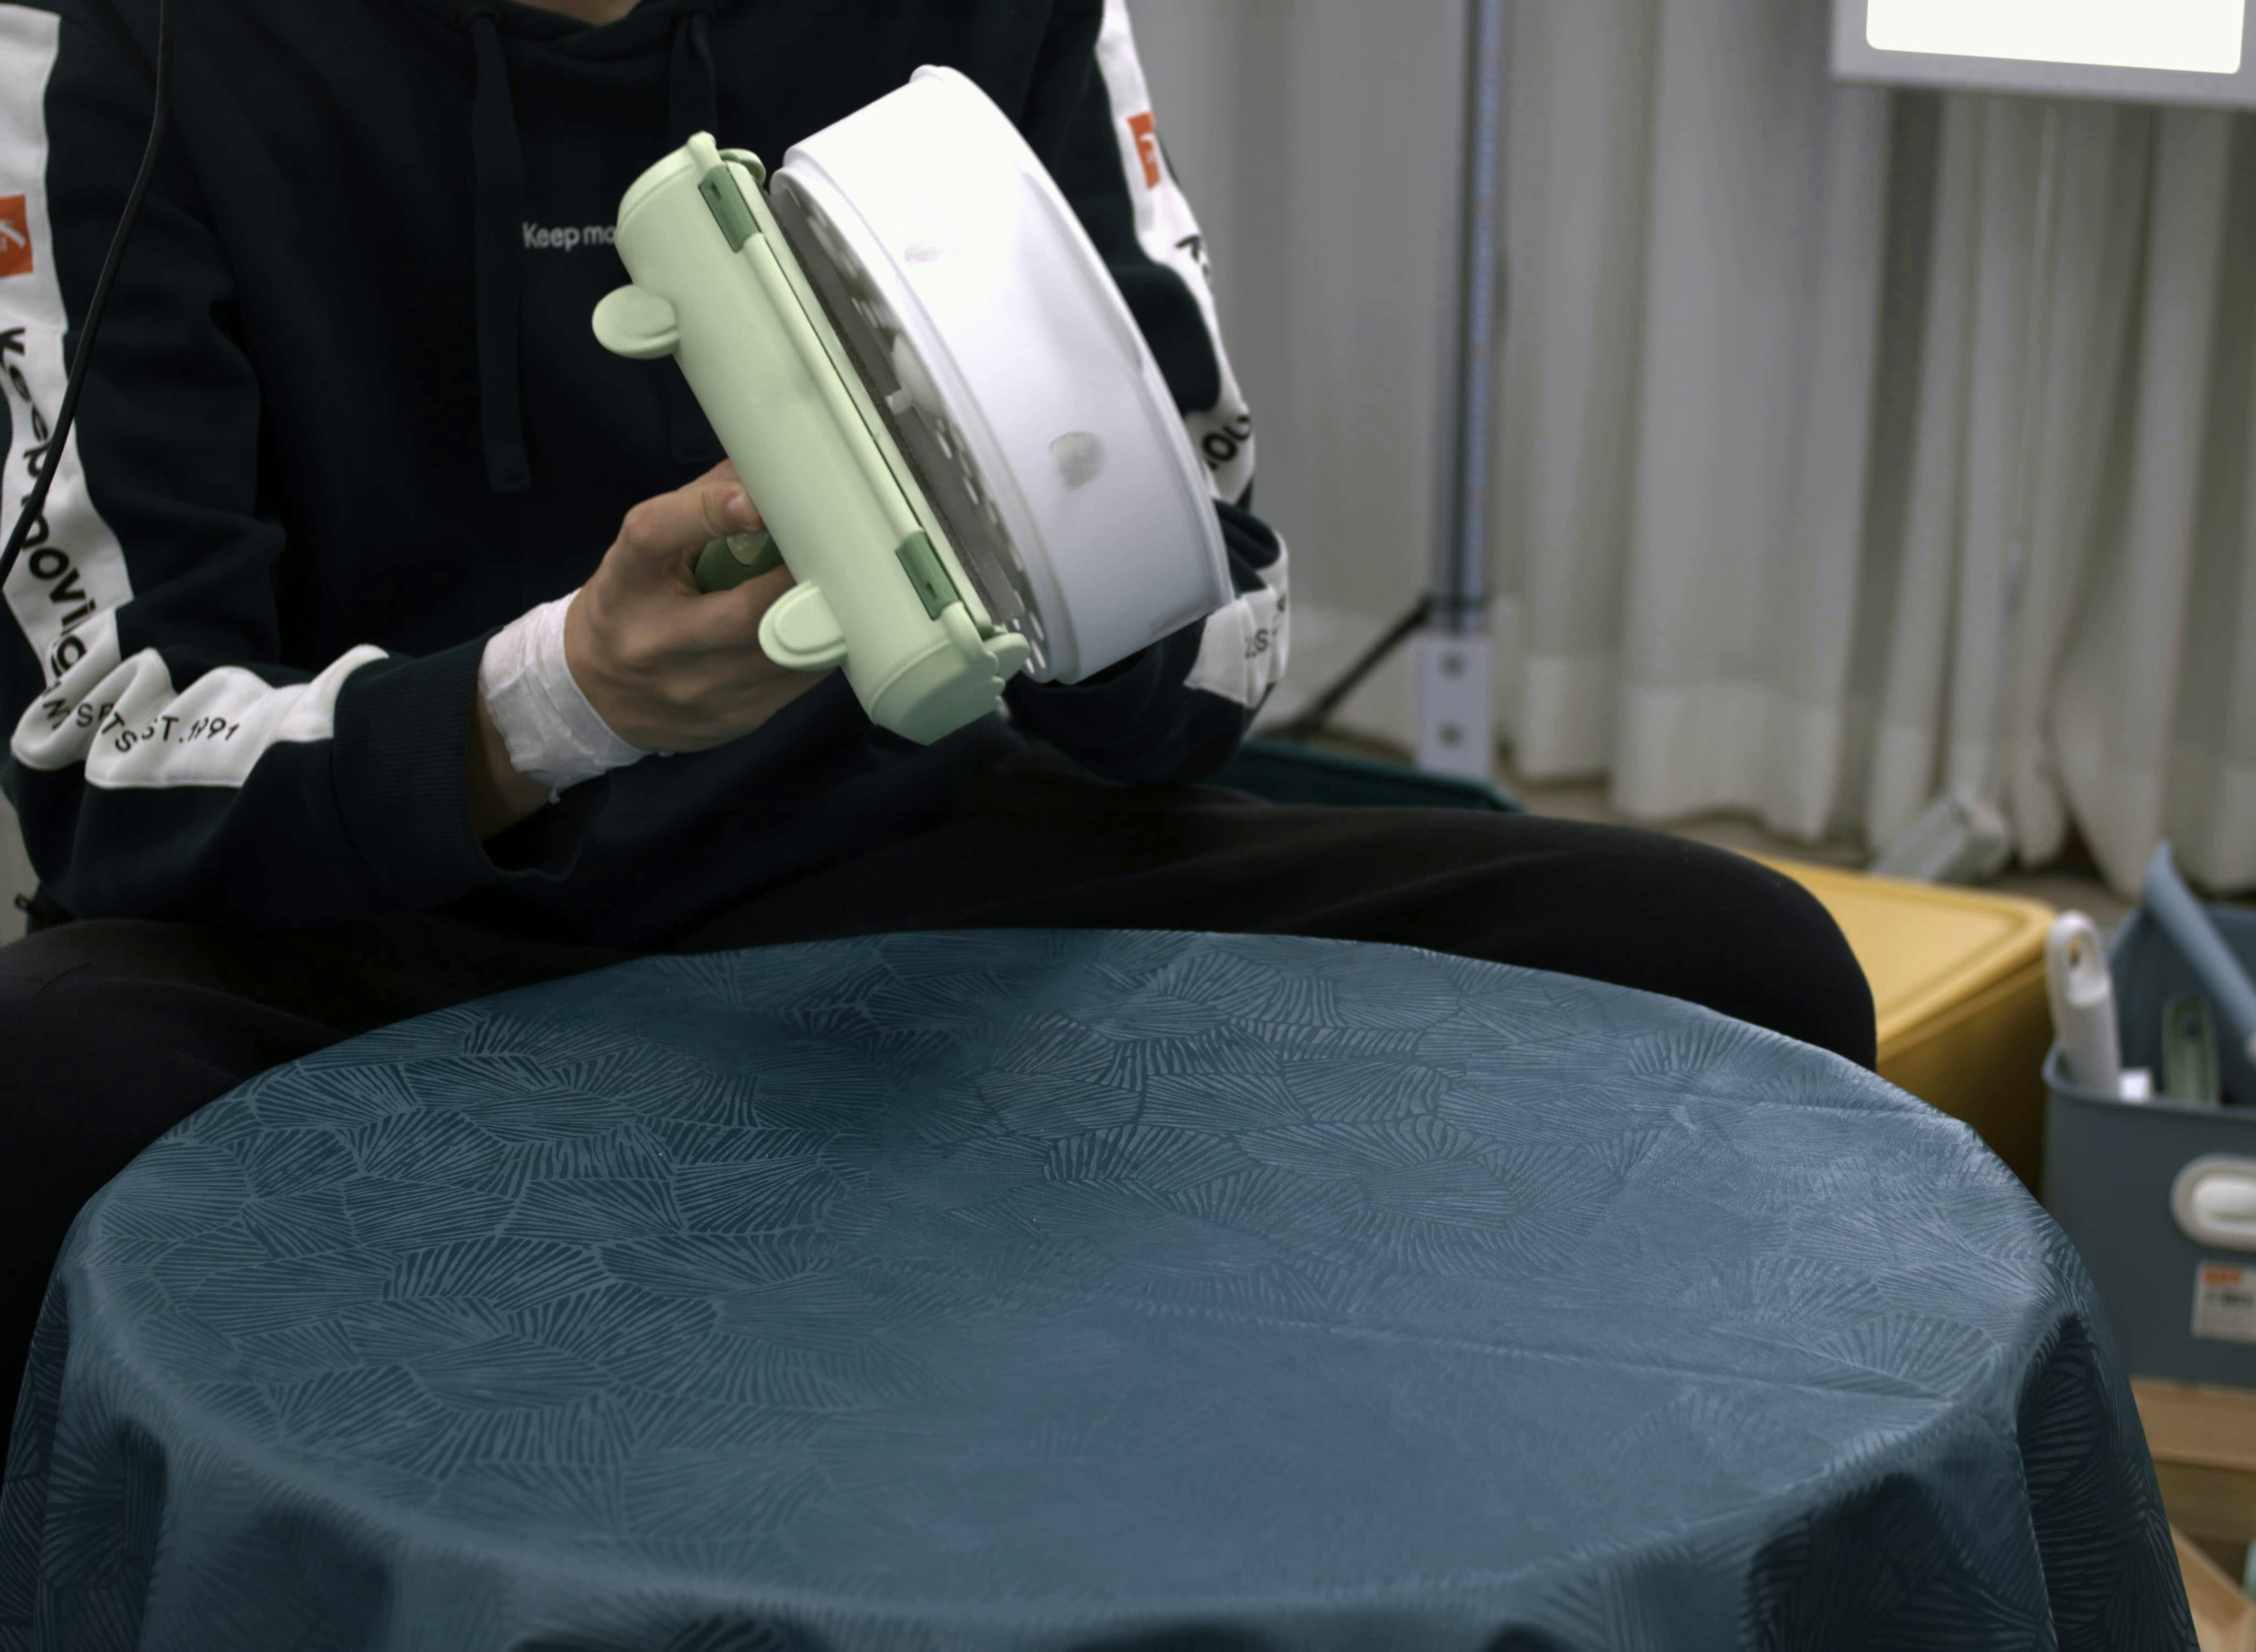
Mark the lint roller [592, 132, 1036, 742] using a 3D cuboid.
[{"bbox_3d":[-0.123,-0.091,1.656,0.082,0.197,0.183,-19,-18,-36],"label":"lint roller"}]

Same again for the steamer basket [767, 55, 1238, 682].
[{"bbox_3d":[-0.043,-0.141,1.674,0.069,0.201,0.231,-29,-6,-8],"label":"steamer basket"}]
